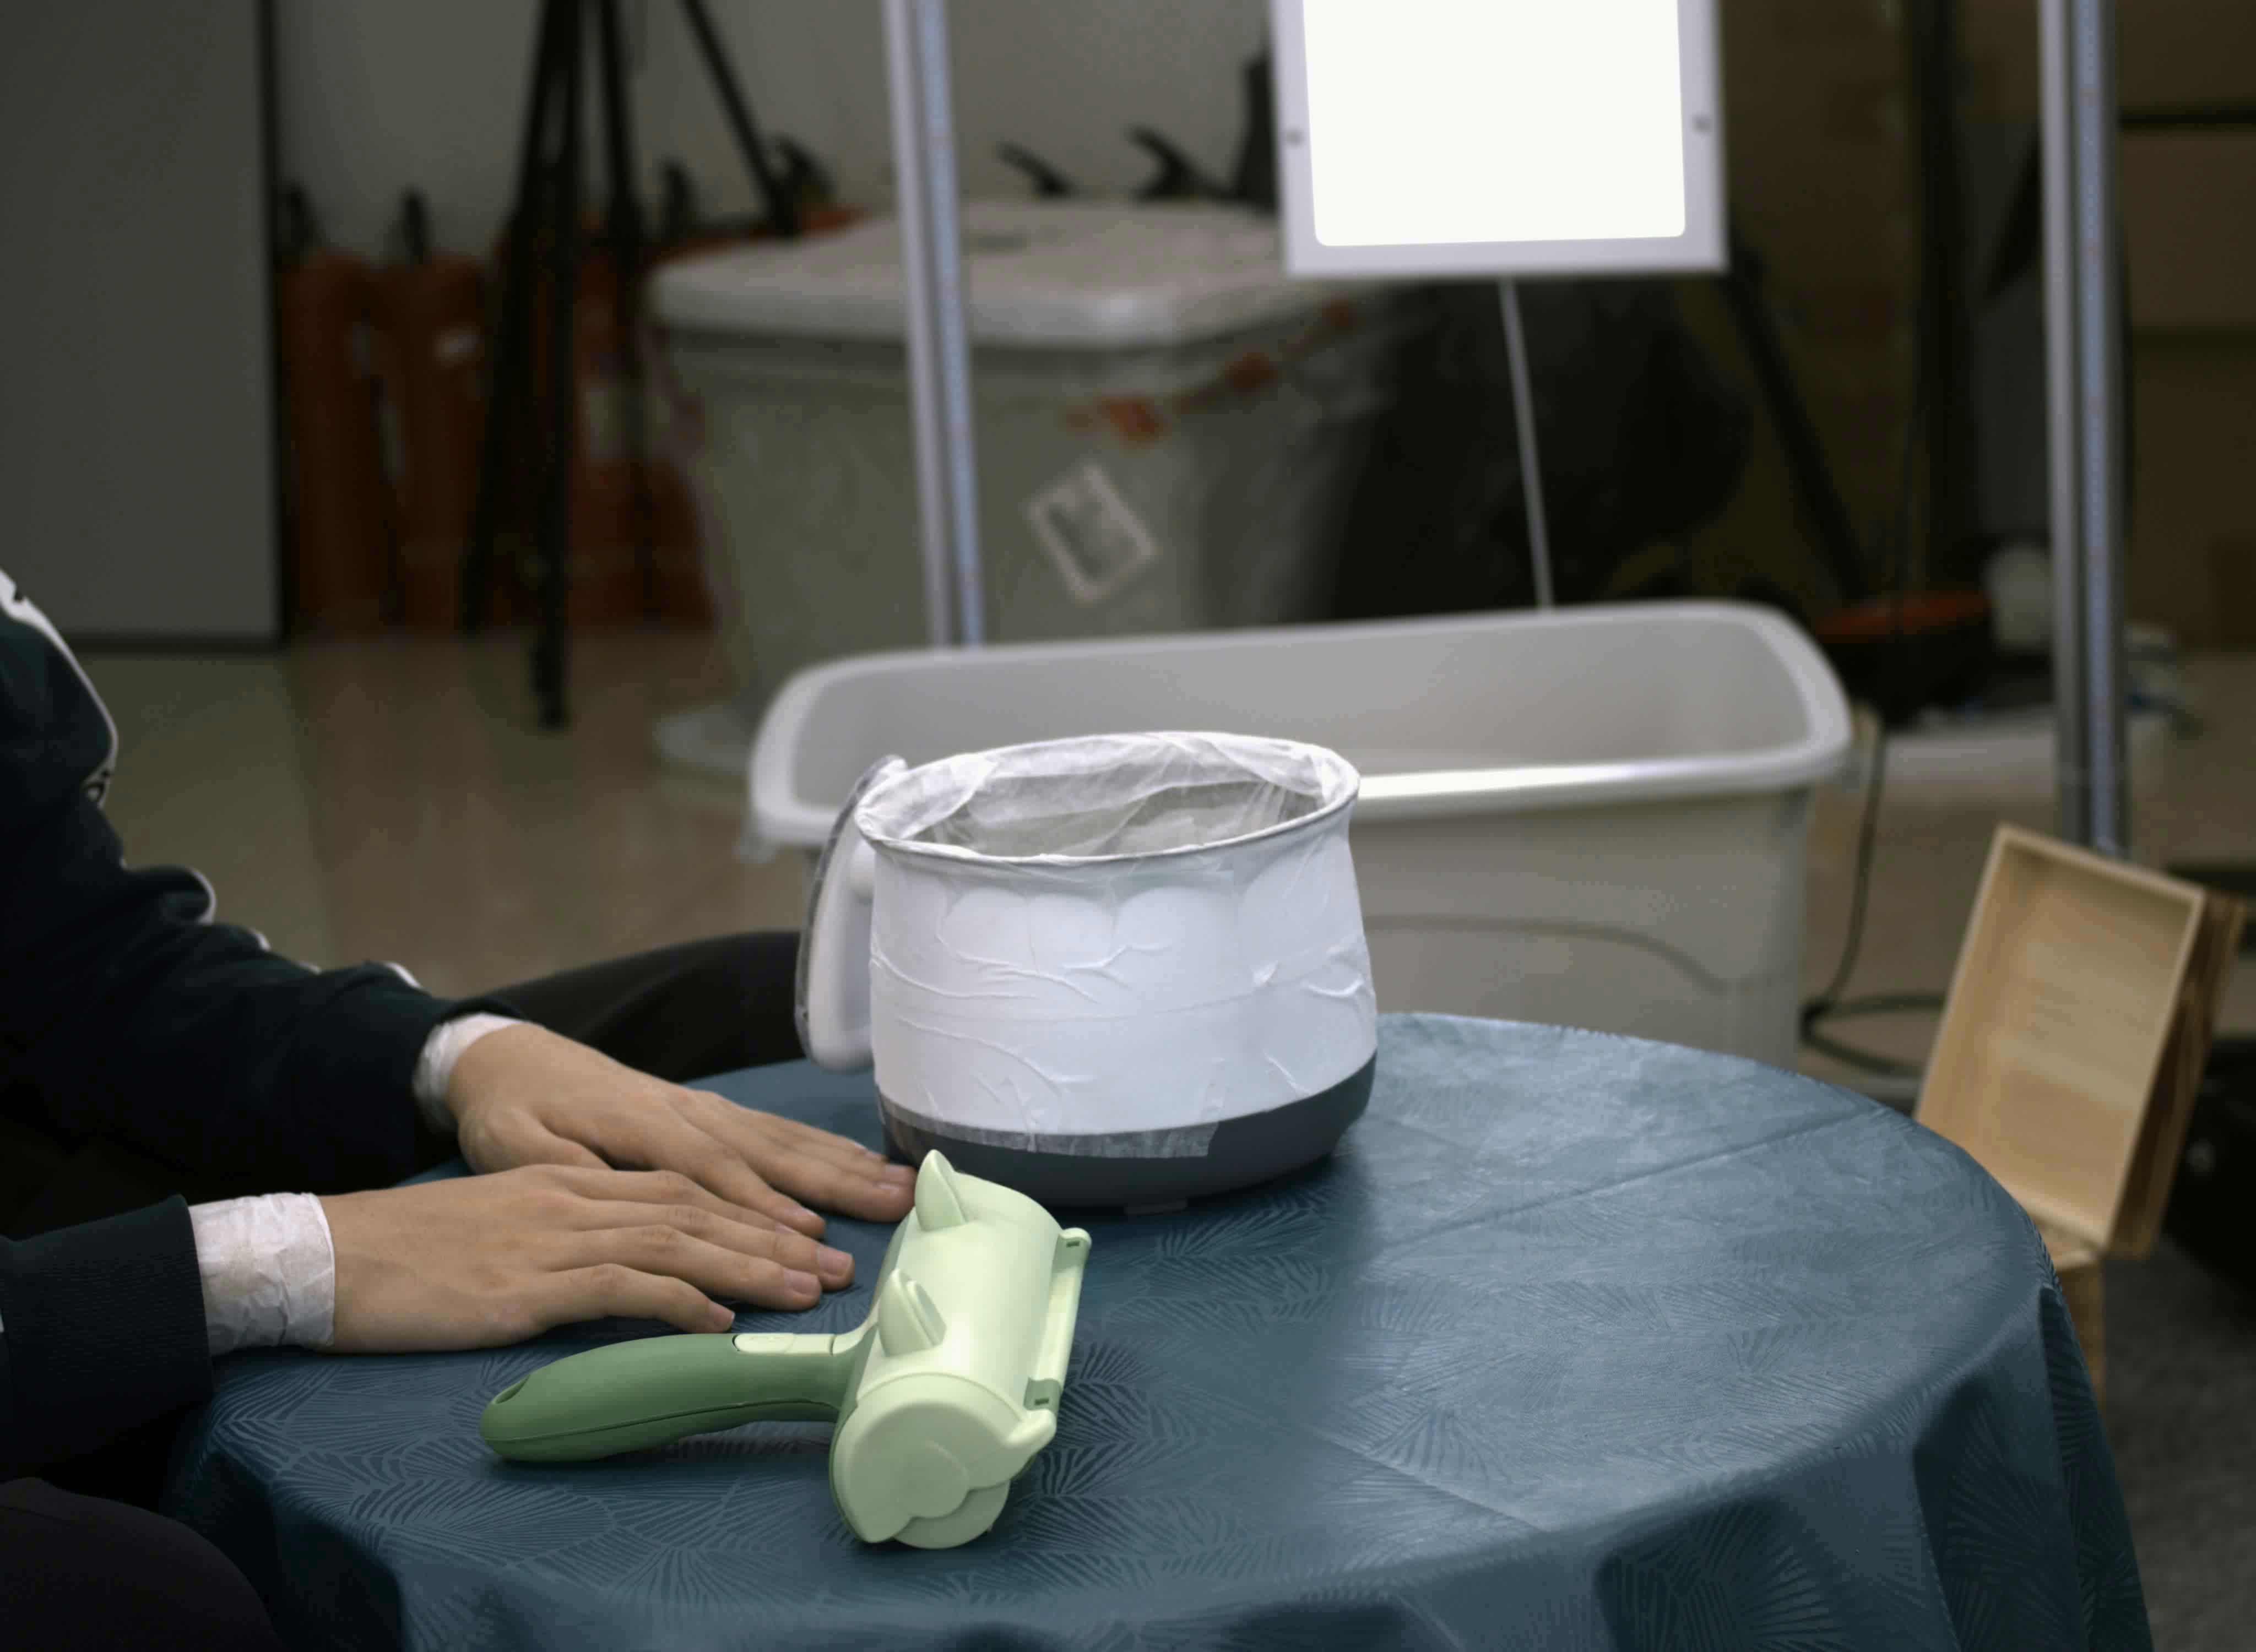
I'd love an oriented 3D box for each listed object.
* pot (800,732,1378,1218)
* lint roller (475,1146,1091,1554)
[{"bbox_3d":[-0.024,0.047,1.936,0.238,0.137,0.174,7,18,38],"label":"pot"},{"bbox_3d":[-0.108,0.153,1.670,0.183,0.082,0.197,1,15,5],"label":"lint roller"}]
